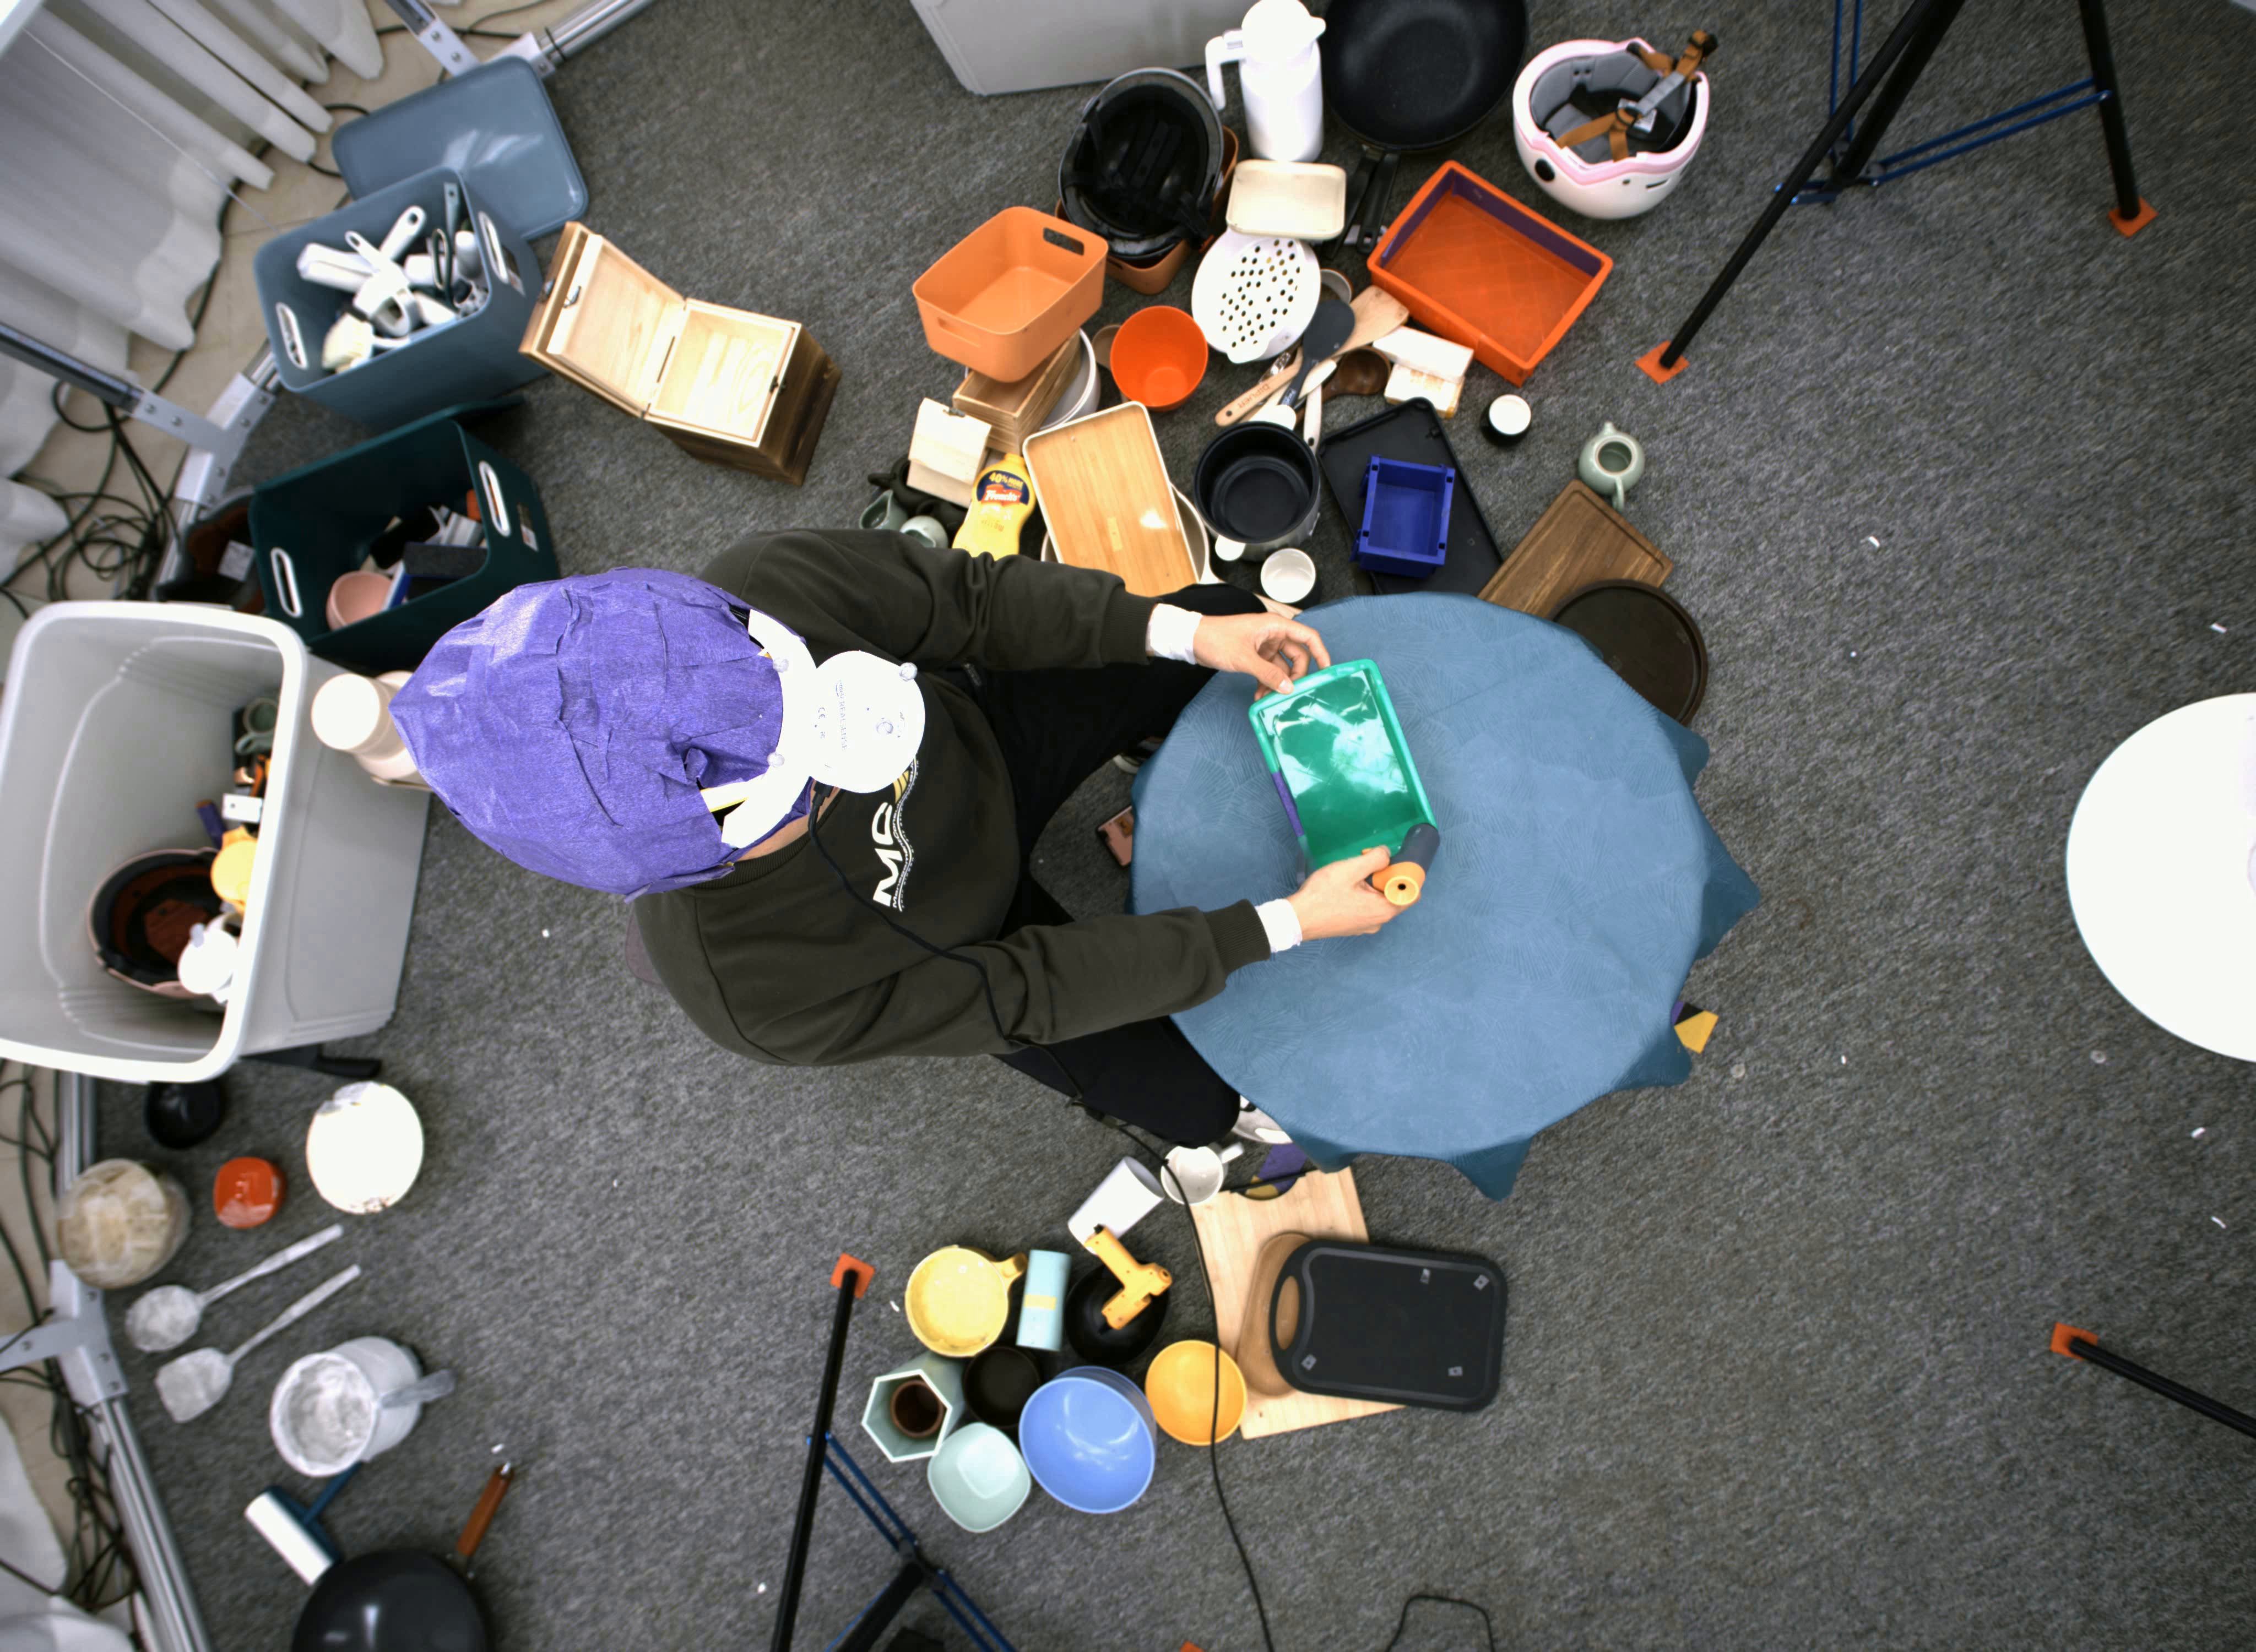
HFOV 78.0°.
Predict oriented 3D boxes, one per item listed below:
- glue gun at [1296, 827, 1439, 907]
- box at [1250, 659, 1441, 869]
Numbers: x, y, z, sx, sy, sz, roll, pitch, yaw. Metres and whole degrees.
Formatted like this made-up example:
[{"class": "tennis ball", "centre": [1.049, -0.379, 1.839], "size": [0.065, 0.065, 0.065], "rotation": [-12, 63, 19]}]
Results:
[{"class": "glue gun", "centre": [0.240, 0.038, 1.365], "size": [0.141, 0.115, 0.041], "rotation": [-10, 111, 14]}, {"class": "box", "centre": [0.221, -0.061, 1.415], "size": [0.139, 0.064, 0.212], "rotation": [-23, 105, 9]}]
